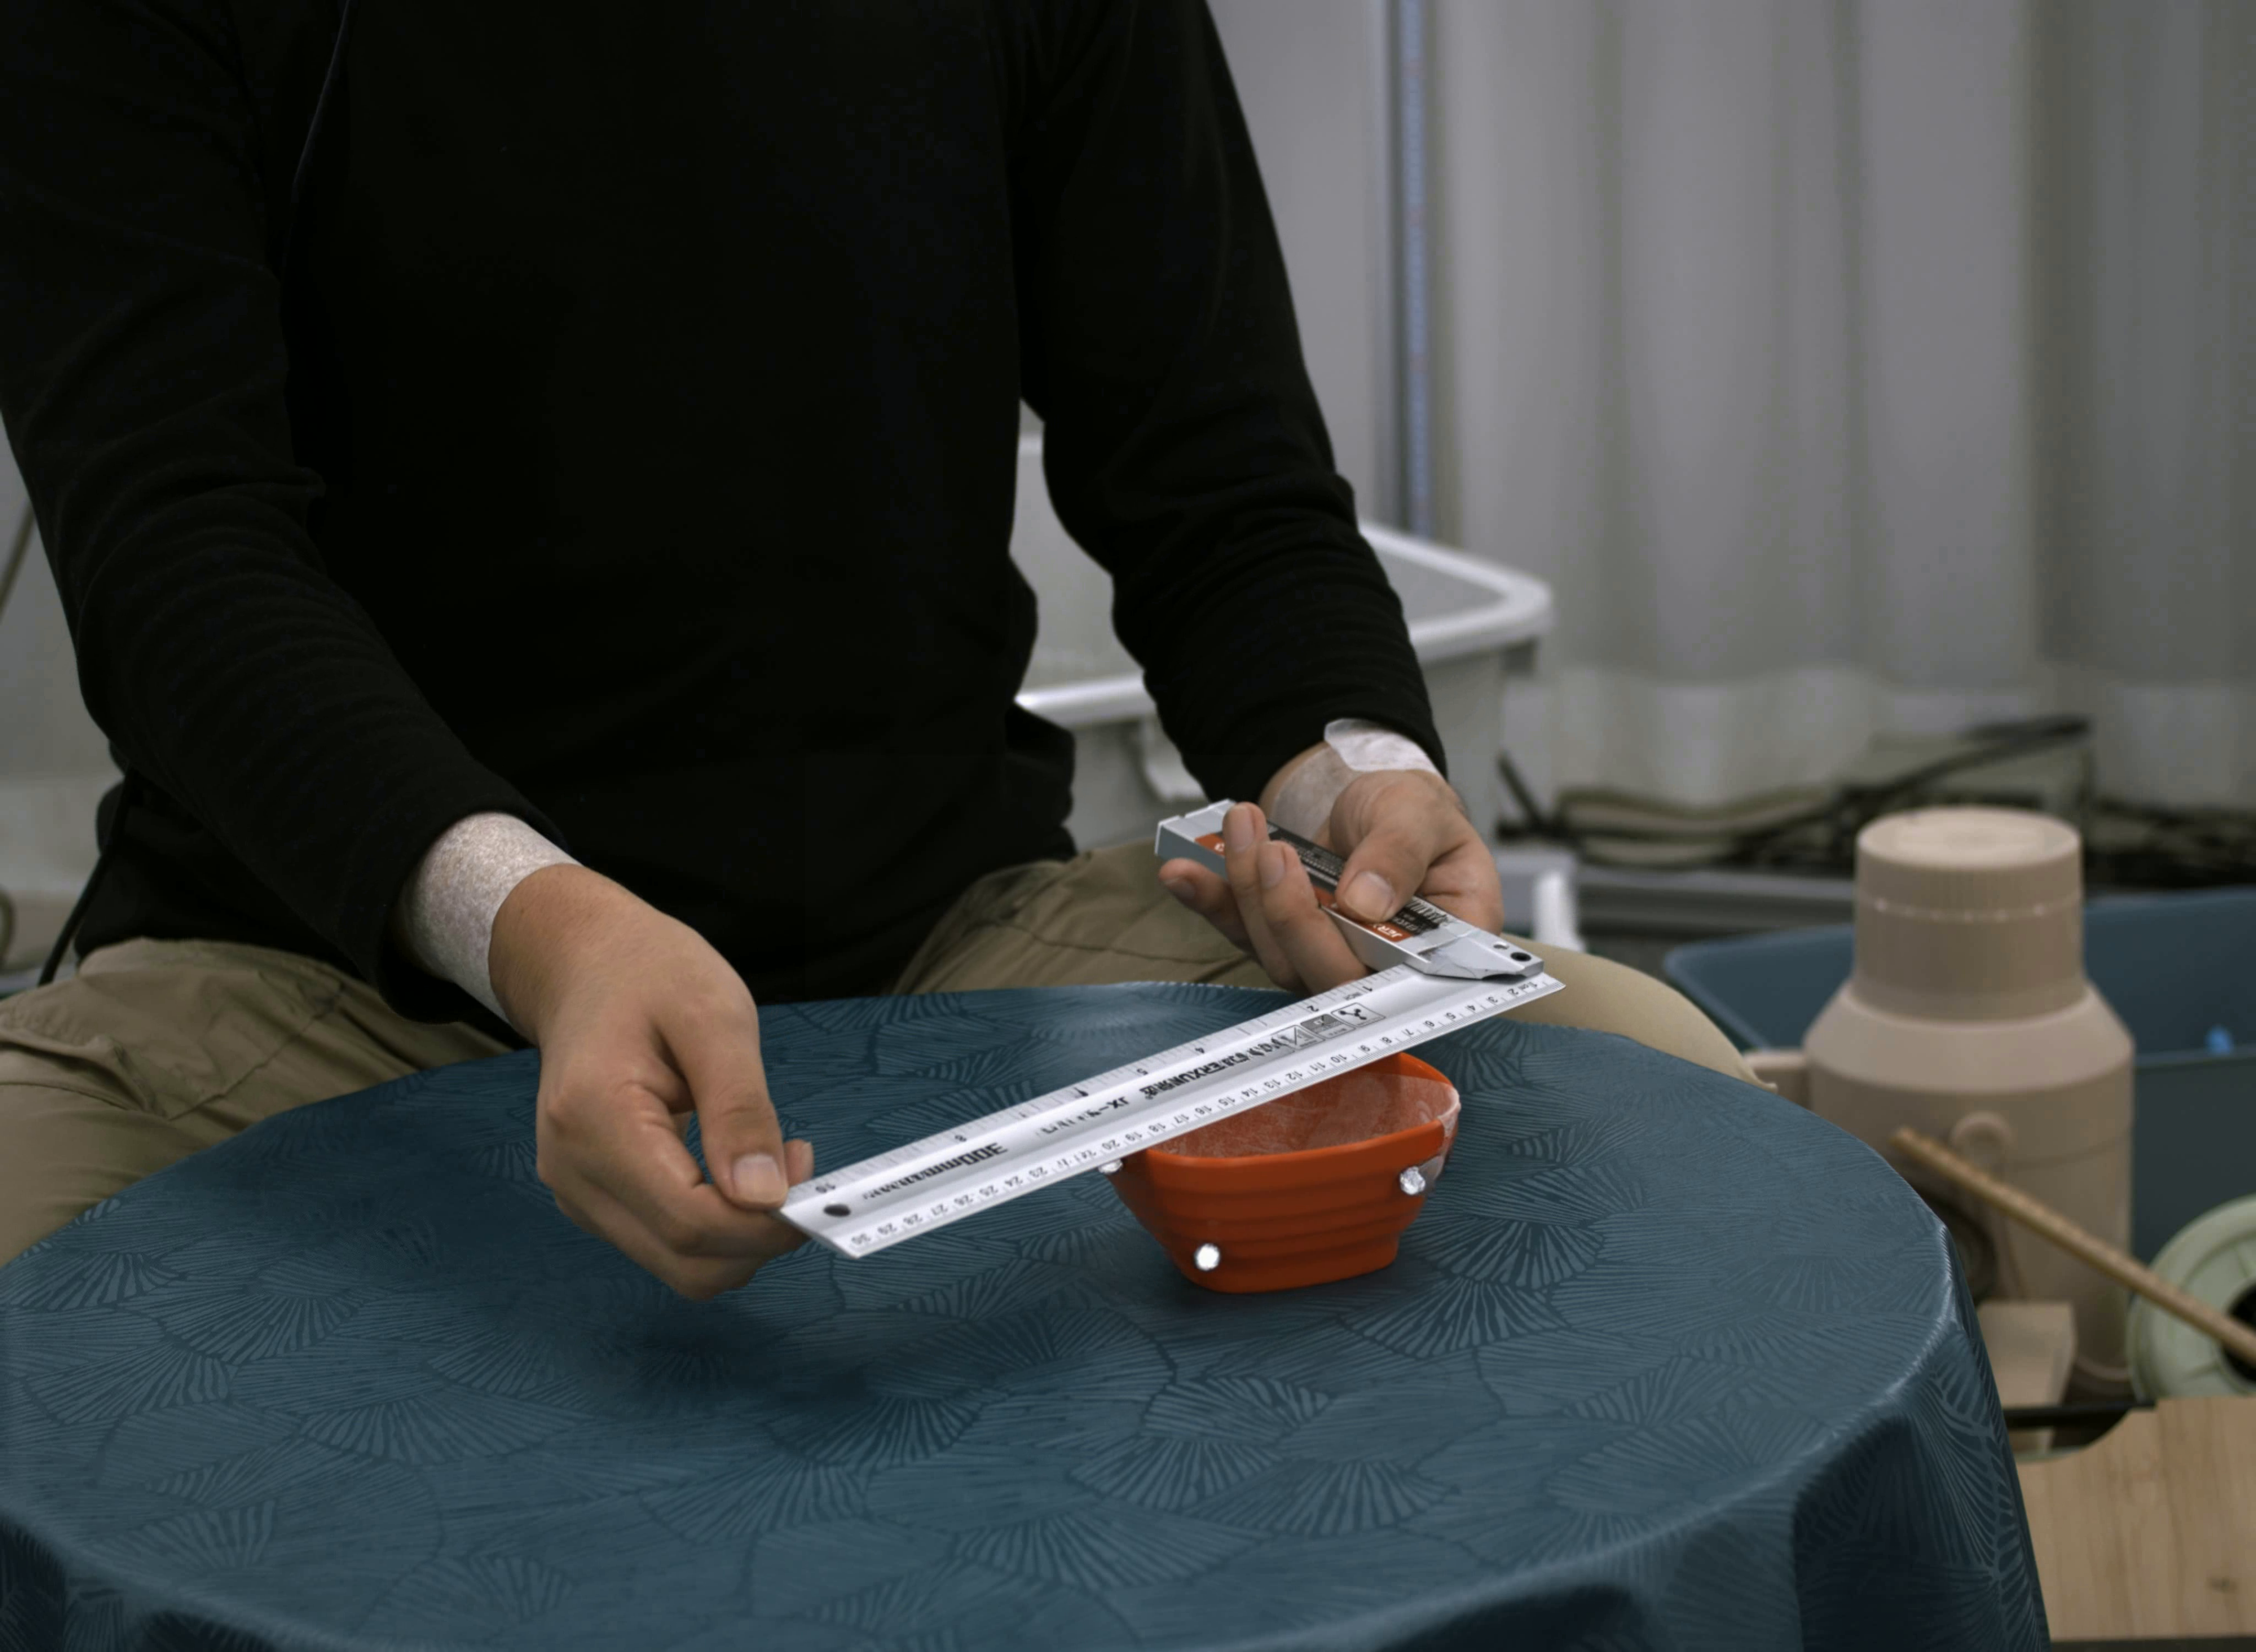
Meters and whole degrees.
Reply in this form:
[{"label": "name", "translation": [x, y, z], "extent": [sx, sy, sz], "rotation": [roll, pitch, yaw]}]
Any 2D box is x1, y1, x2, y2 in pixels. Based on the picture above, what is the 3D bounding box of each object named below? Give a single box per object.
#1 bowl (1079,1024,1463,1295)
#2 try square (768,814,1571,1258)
[{"label": "bowl", "translation": [0.044, 0.103, 1.643], "extent": [0.118, 0.051, 0.120], "rotation": [-3, 18, 1]}, {"label": "try square", "translation": [-0.019, 0.060, 1.670], "extent": [0.153, 0.016, 0.312], "rotation": [25, 30, 38]}]
